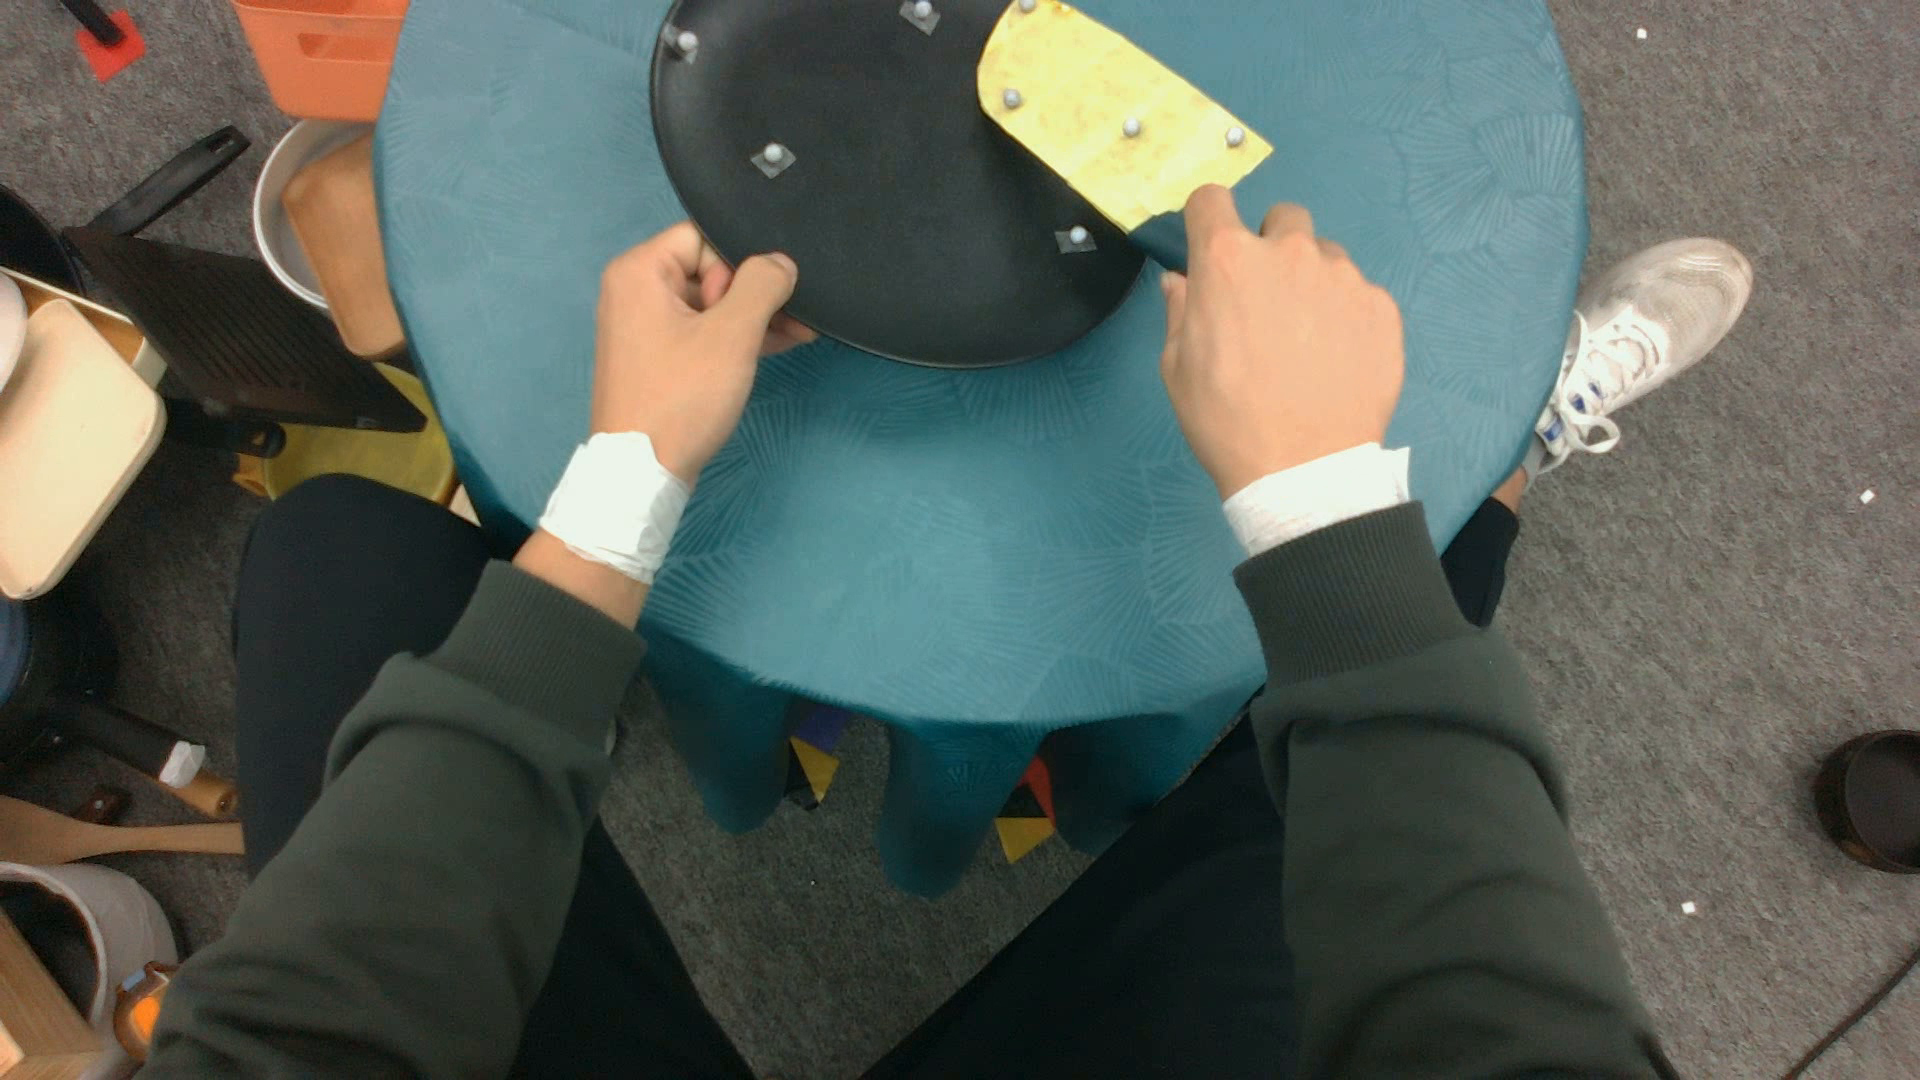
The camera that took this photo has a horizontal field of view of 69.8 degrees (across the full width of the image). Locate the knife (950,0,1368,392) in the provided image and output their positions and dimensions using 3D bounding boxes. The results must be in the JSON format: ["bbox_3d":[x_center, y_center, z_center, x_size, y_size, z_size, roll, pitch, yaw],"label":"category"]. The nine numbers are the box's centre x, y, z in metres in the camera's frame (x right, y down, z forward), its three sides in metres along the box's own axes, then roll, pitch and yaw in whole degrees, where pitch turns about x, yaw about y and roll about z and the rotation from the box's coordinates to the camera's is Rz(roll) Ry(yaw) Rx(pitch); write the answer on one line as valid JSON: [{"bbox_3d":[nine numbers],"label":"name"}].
[{"bbox_3d":[0.087,-0.167,0.617,0.081,0.027,0.290,-37,61,-2],"label":"knife"}]

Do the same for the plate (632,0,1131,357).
[{"bbox_3d":[-0.030,-0.188,0.643,0.244,0.023,0.245,8,64,-18],"label":"plate"}]
